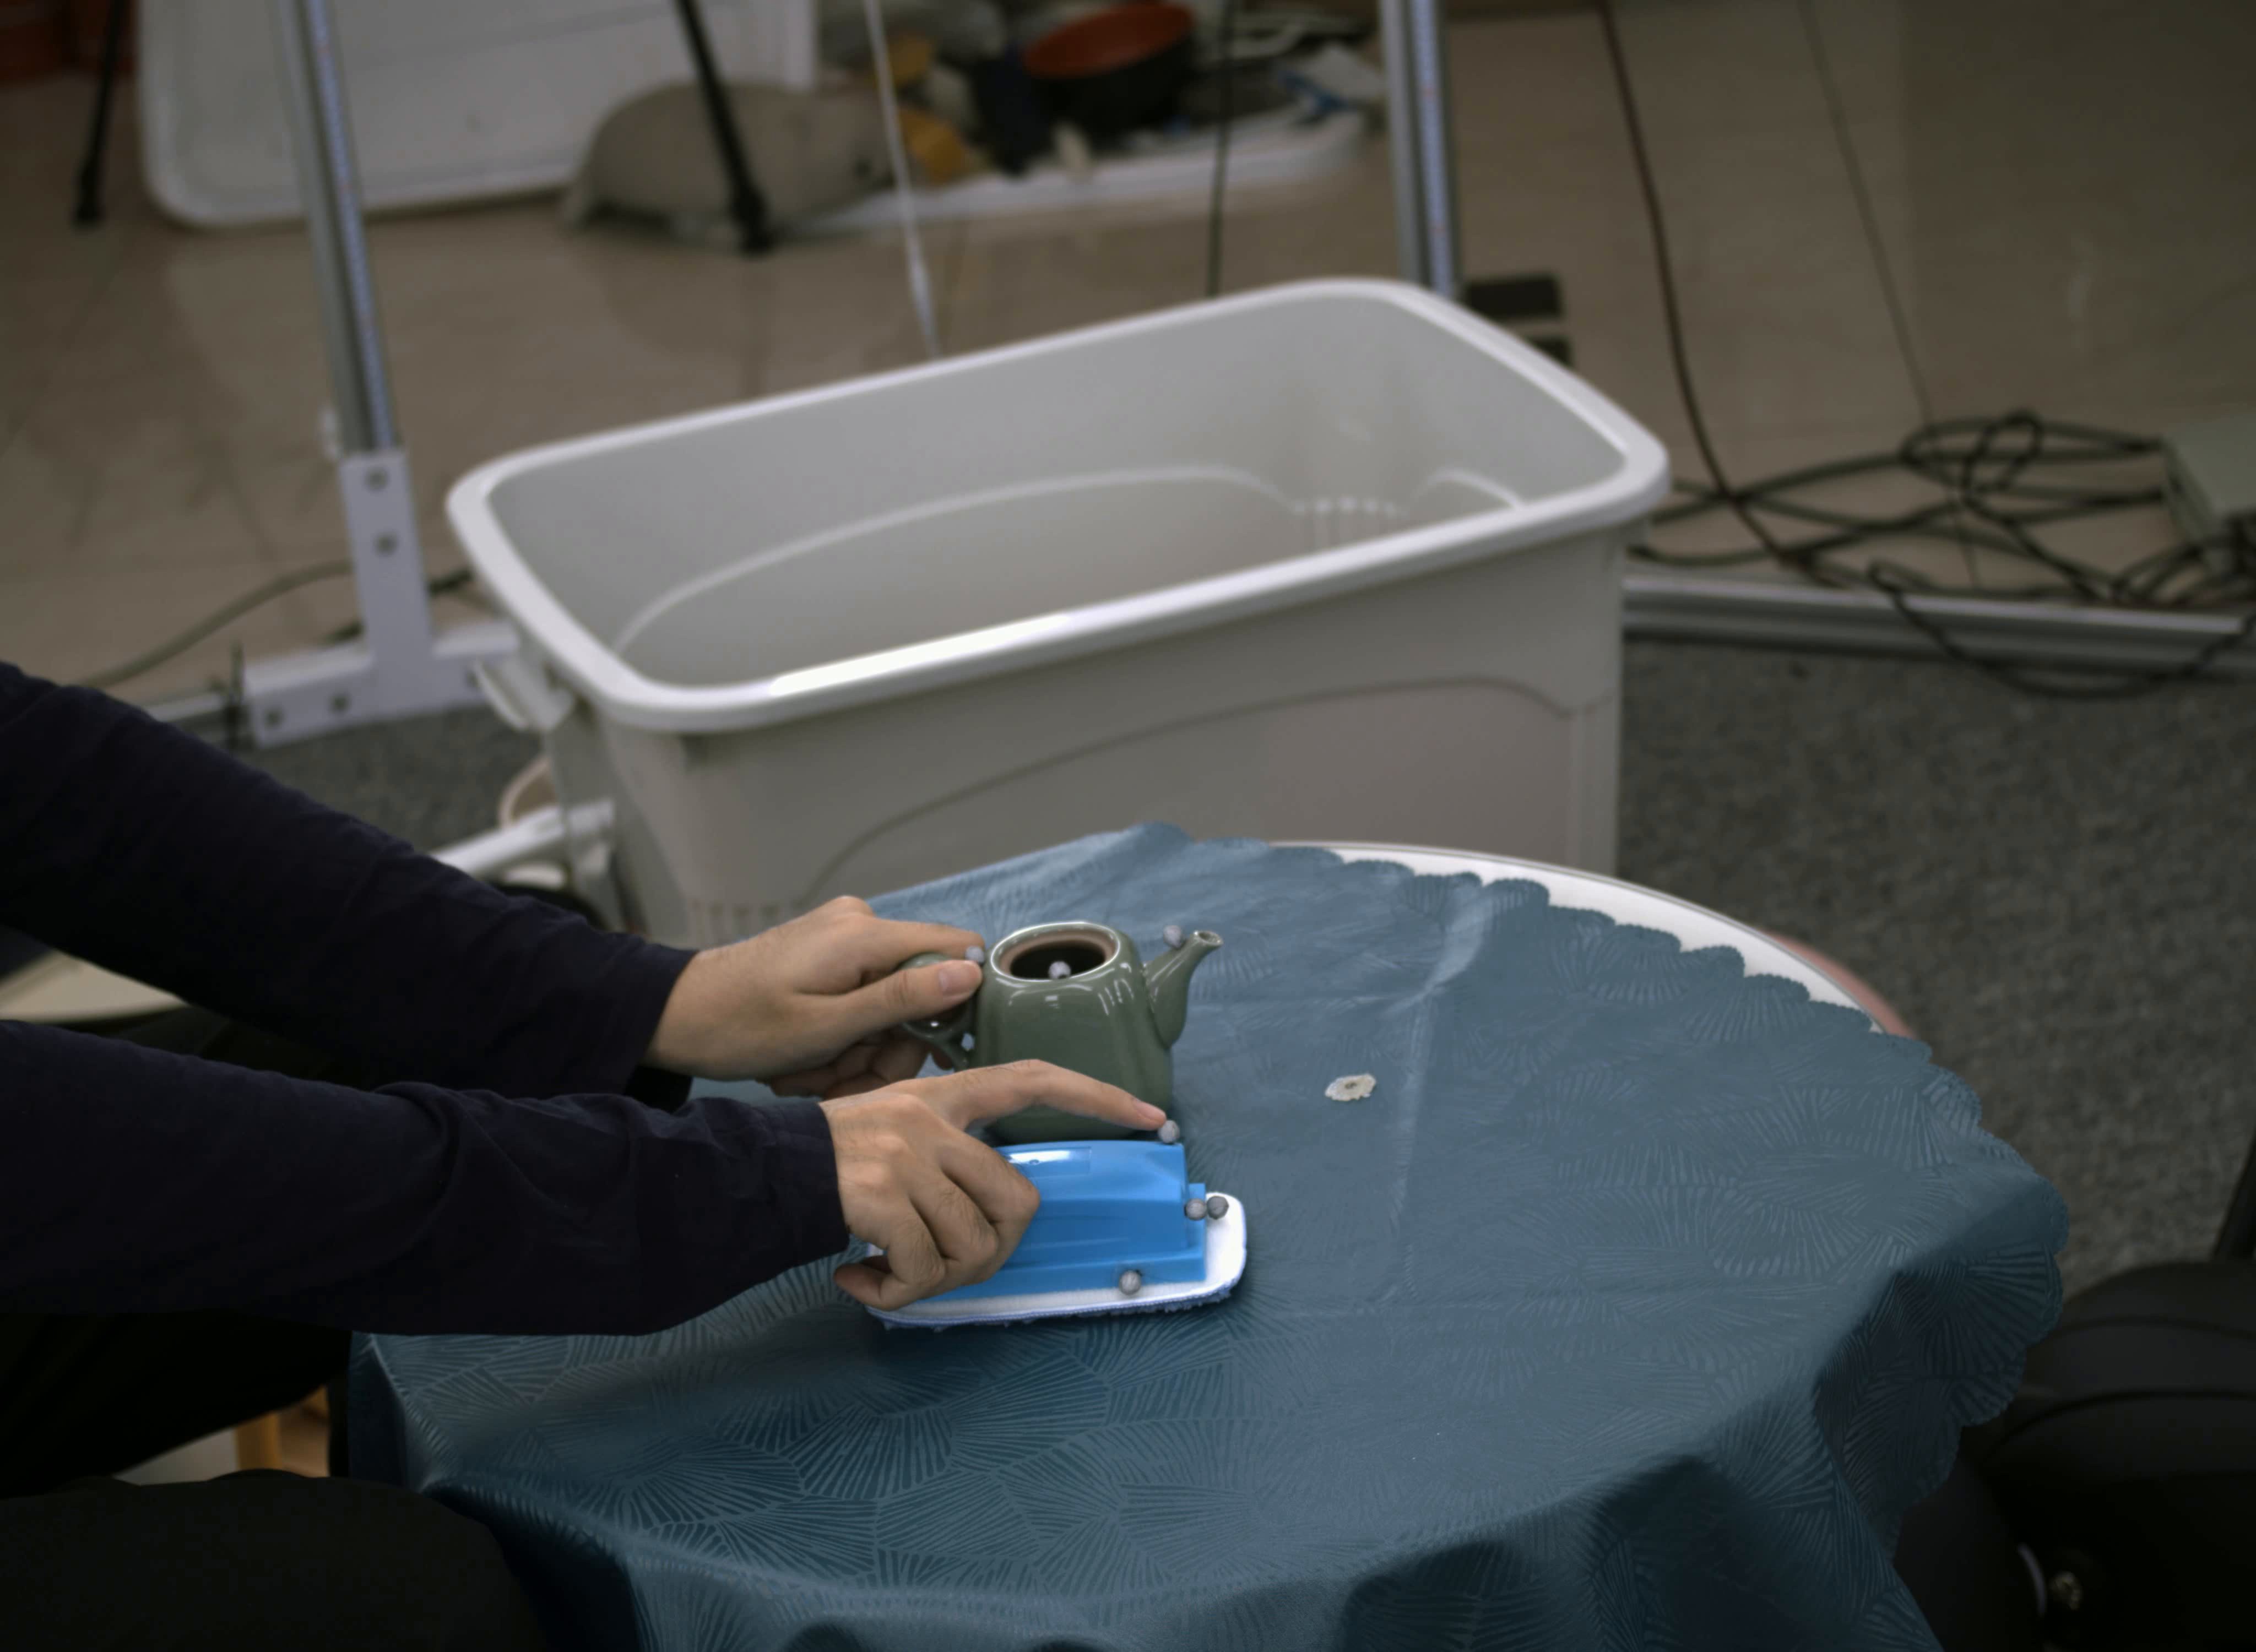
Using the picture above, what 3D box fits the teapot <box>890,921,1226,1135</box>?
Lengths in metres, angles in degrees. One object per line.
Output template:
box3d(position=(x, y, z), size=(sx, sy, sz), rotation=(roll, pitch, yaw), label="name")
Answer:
box3d(position=(-0.024, 0.079, 2.196), size=(0.132, 0.076, 0.078), rotation=(-6, 25, 3), label="teapot")

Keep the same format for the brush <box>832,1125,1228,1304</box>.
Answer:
box3d(position=(-0.036, 0.140, 2.080), size=(0.144, 0.057, 0.083), rotation=(-1, 22, 5), label="brush")
